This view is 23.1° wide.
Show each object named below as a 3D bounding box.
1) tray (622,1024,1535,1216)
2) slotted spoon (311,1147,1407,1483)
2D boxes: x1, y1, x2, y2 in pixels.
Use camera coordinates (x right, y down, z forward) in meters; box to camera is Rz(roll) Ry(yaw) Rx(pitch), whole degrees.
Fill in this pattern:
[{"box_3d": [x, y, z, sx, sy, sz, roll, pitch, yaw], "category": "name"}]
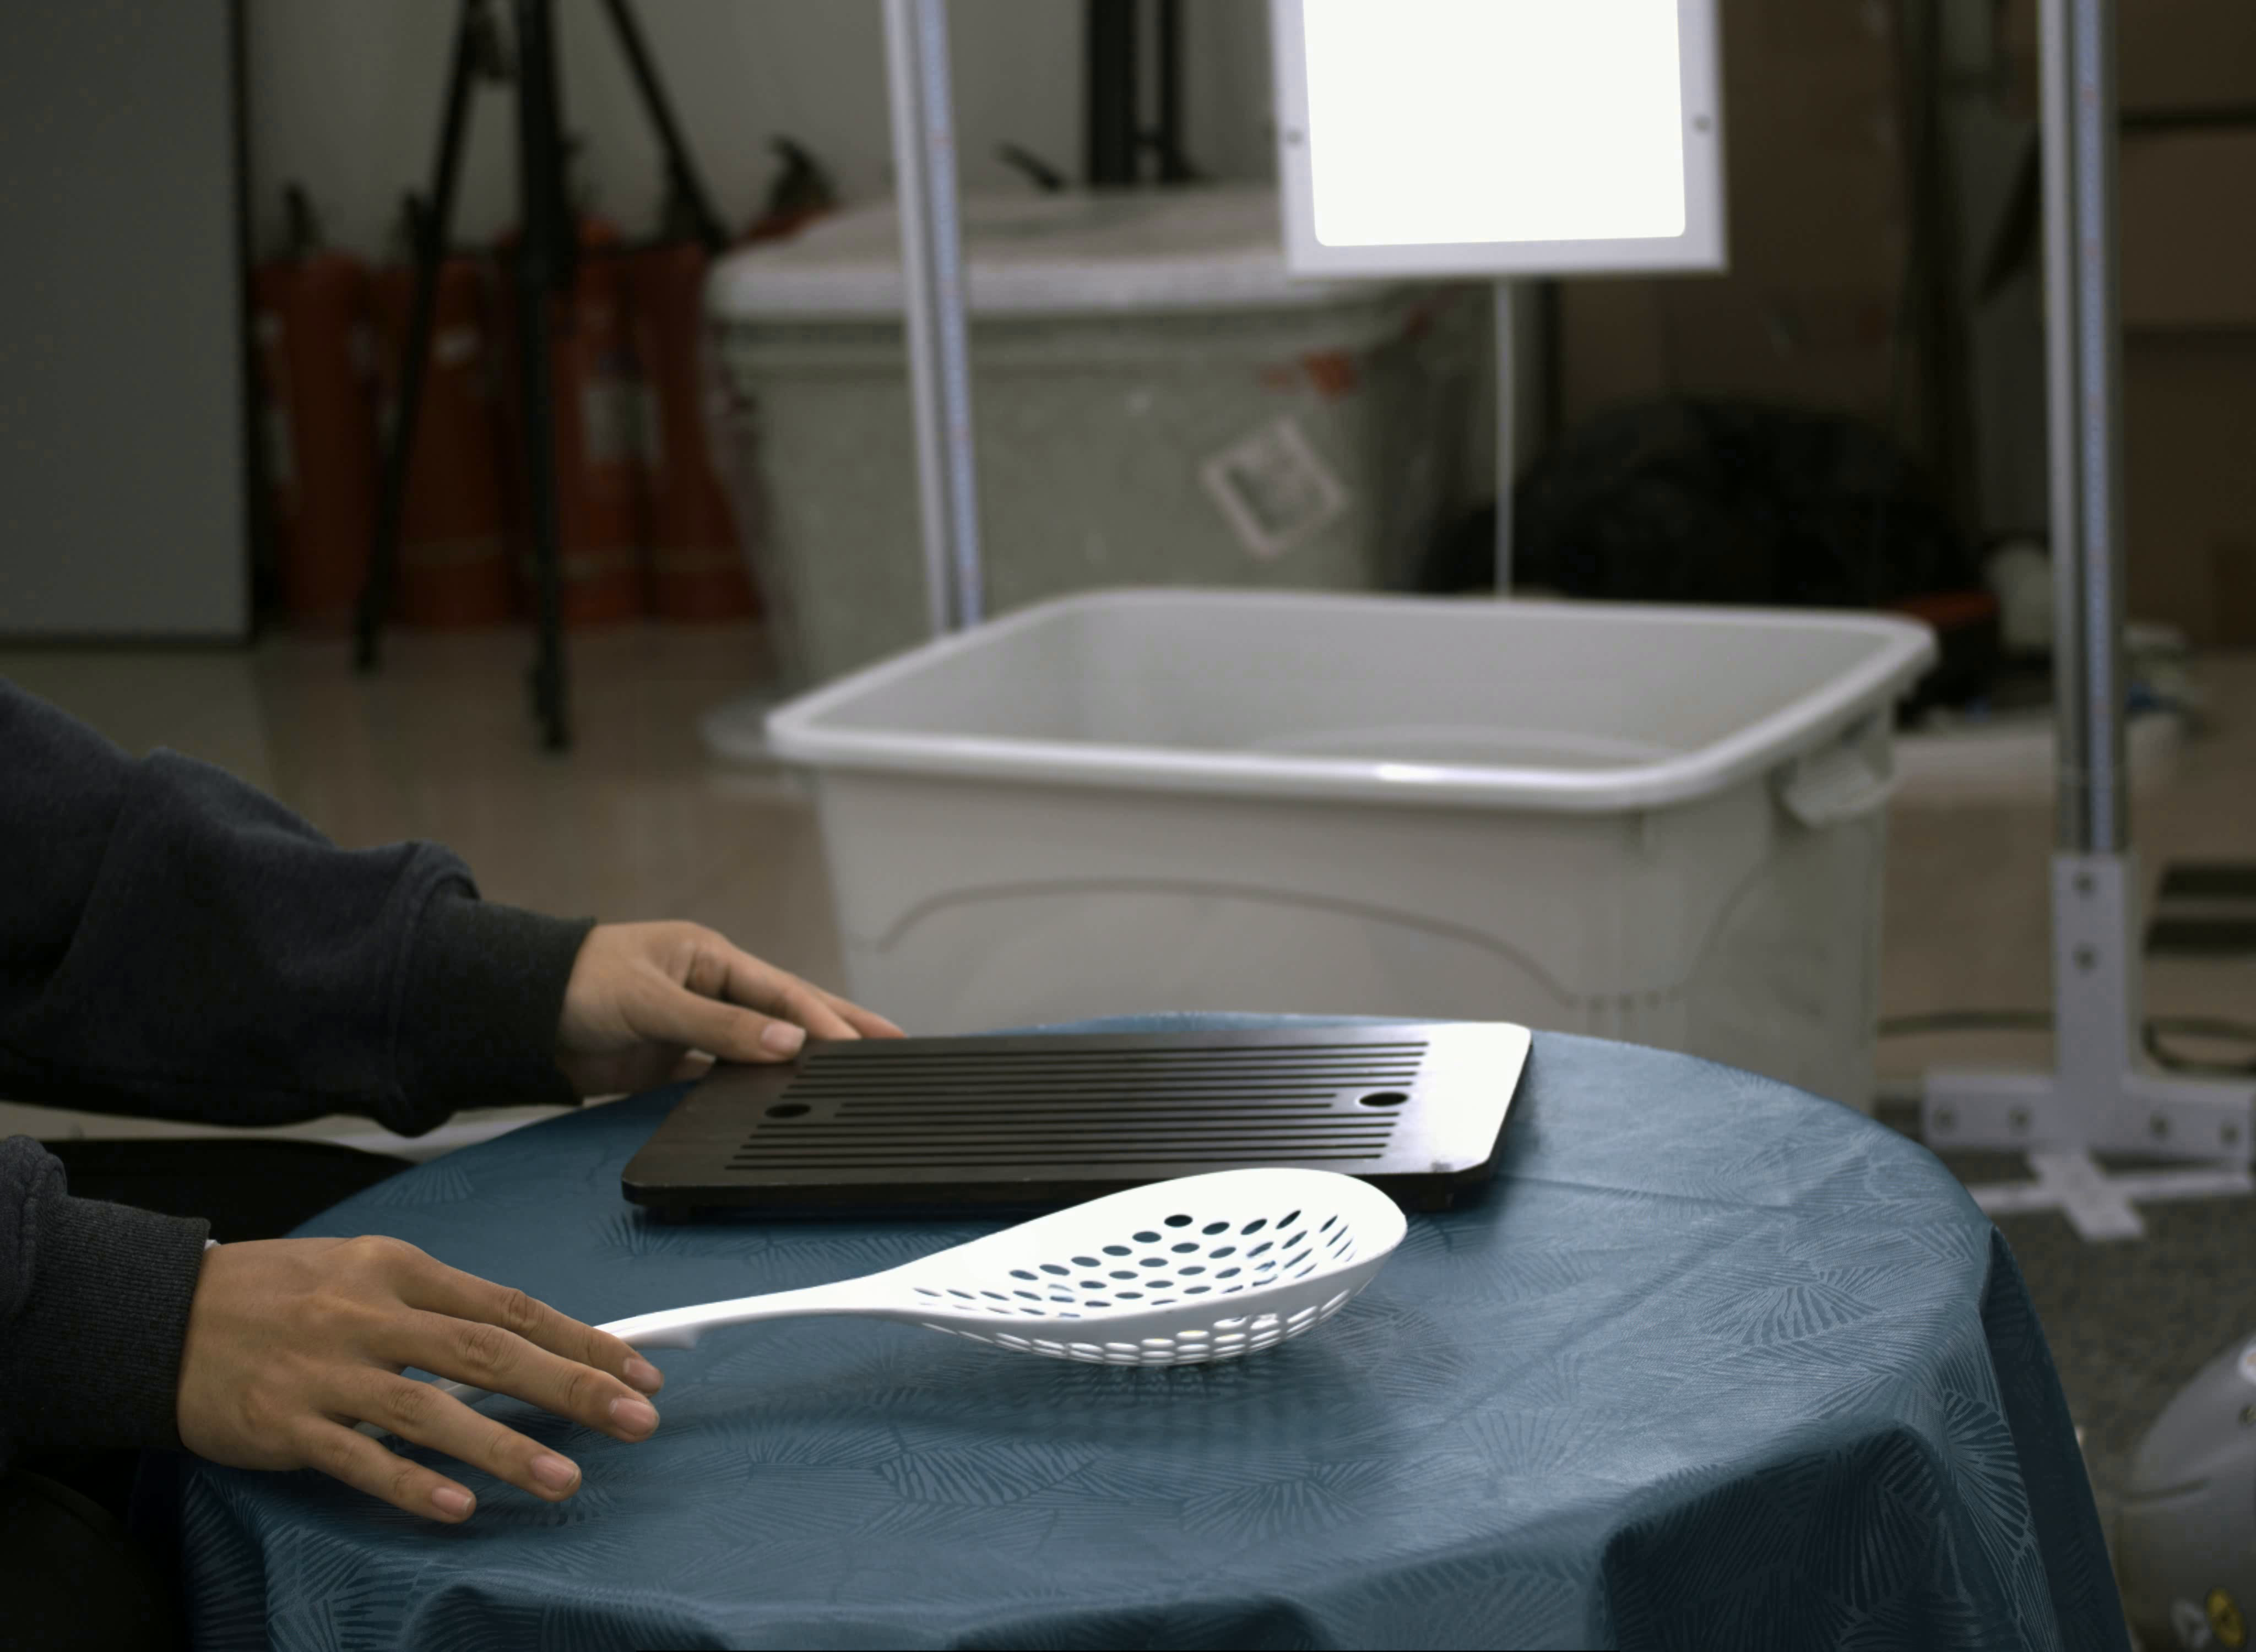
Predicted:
[{"box_3d": [-0.014, 0.105, 1.951, 0.308, 0.019, 0.168, -2, 15, 13], "category": "tray"}, {"box_3d": [-0.083, 0.157, 1.718, 0.345, 0.050, 0.137, -6, 14, -5], "category": "slotted spoon"}]
